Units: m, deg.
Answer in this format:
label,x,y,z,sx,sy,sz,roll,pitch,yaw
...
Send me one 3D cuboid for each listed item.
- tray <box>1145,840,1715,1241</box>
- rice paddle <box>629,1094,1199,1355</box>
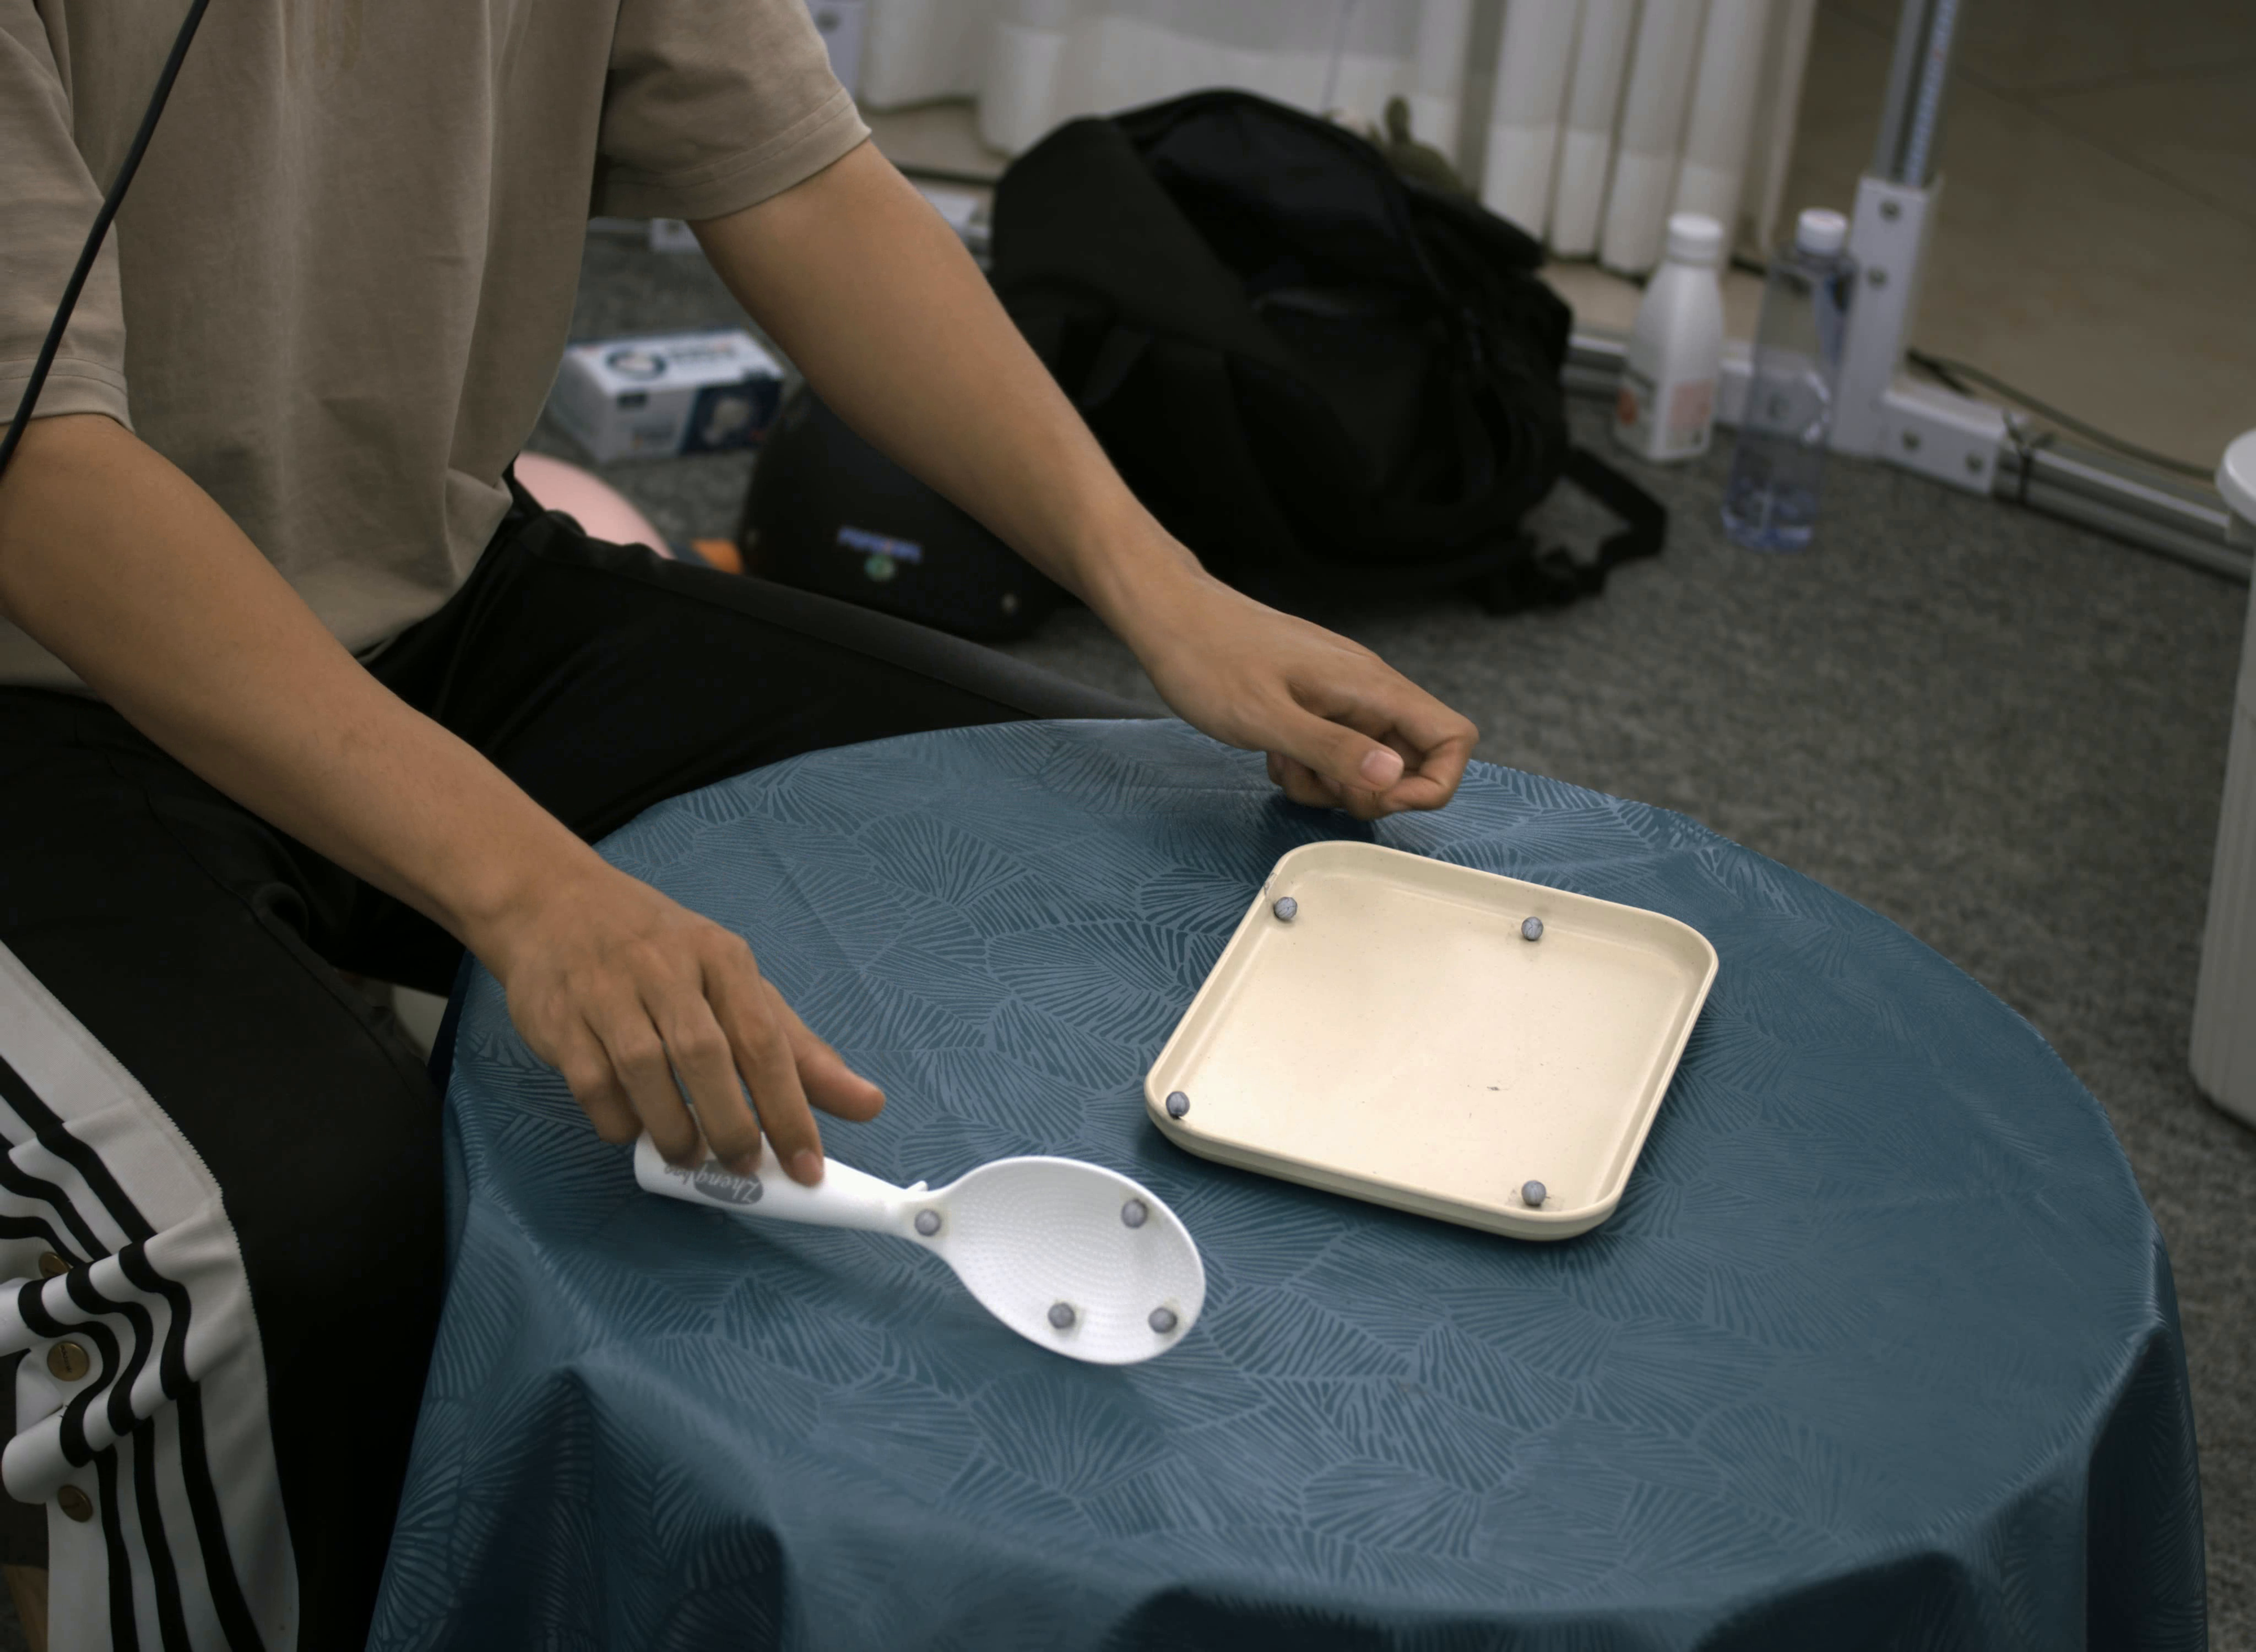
label,x,y,z,sx,sy,sz,roll,pitch,yaw
tray,0.111,0.076,1.906,0.171,0.017,0.240,14,28,12
rice paddle,-0.069,0.124,1.720,0.206,0.068,0.029,13,23,26
